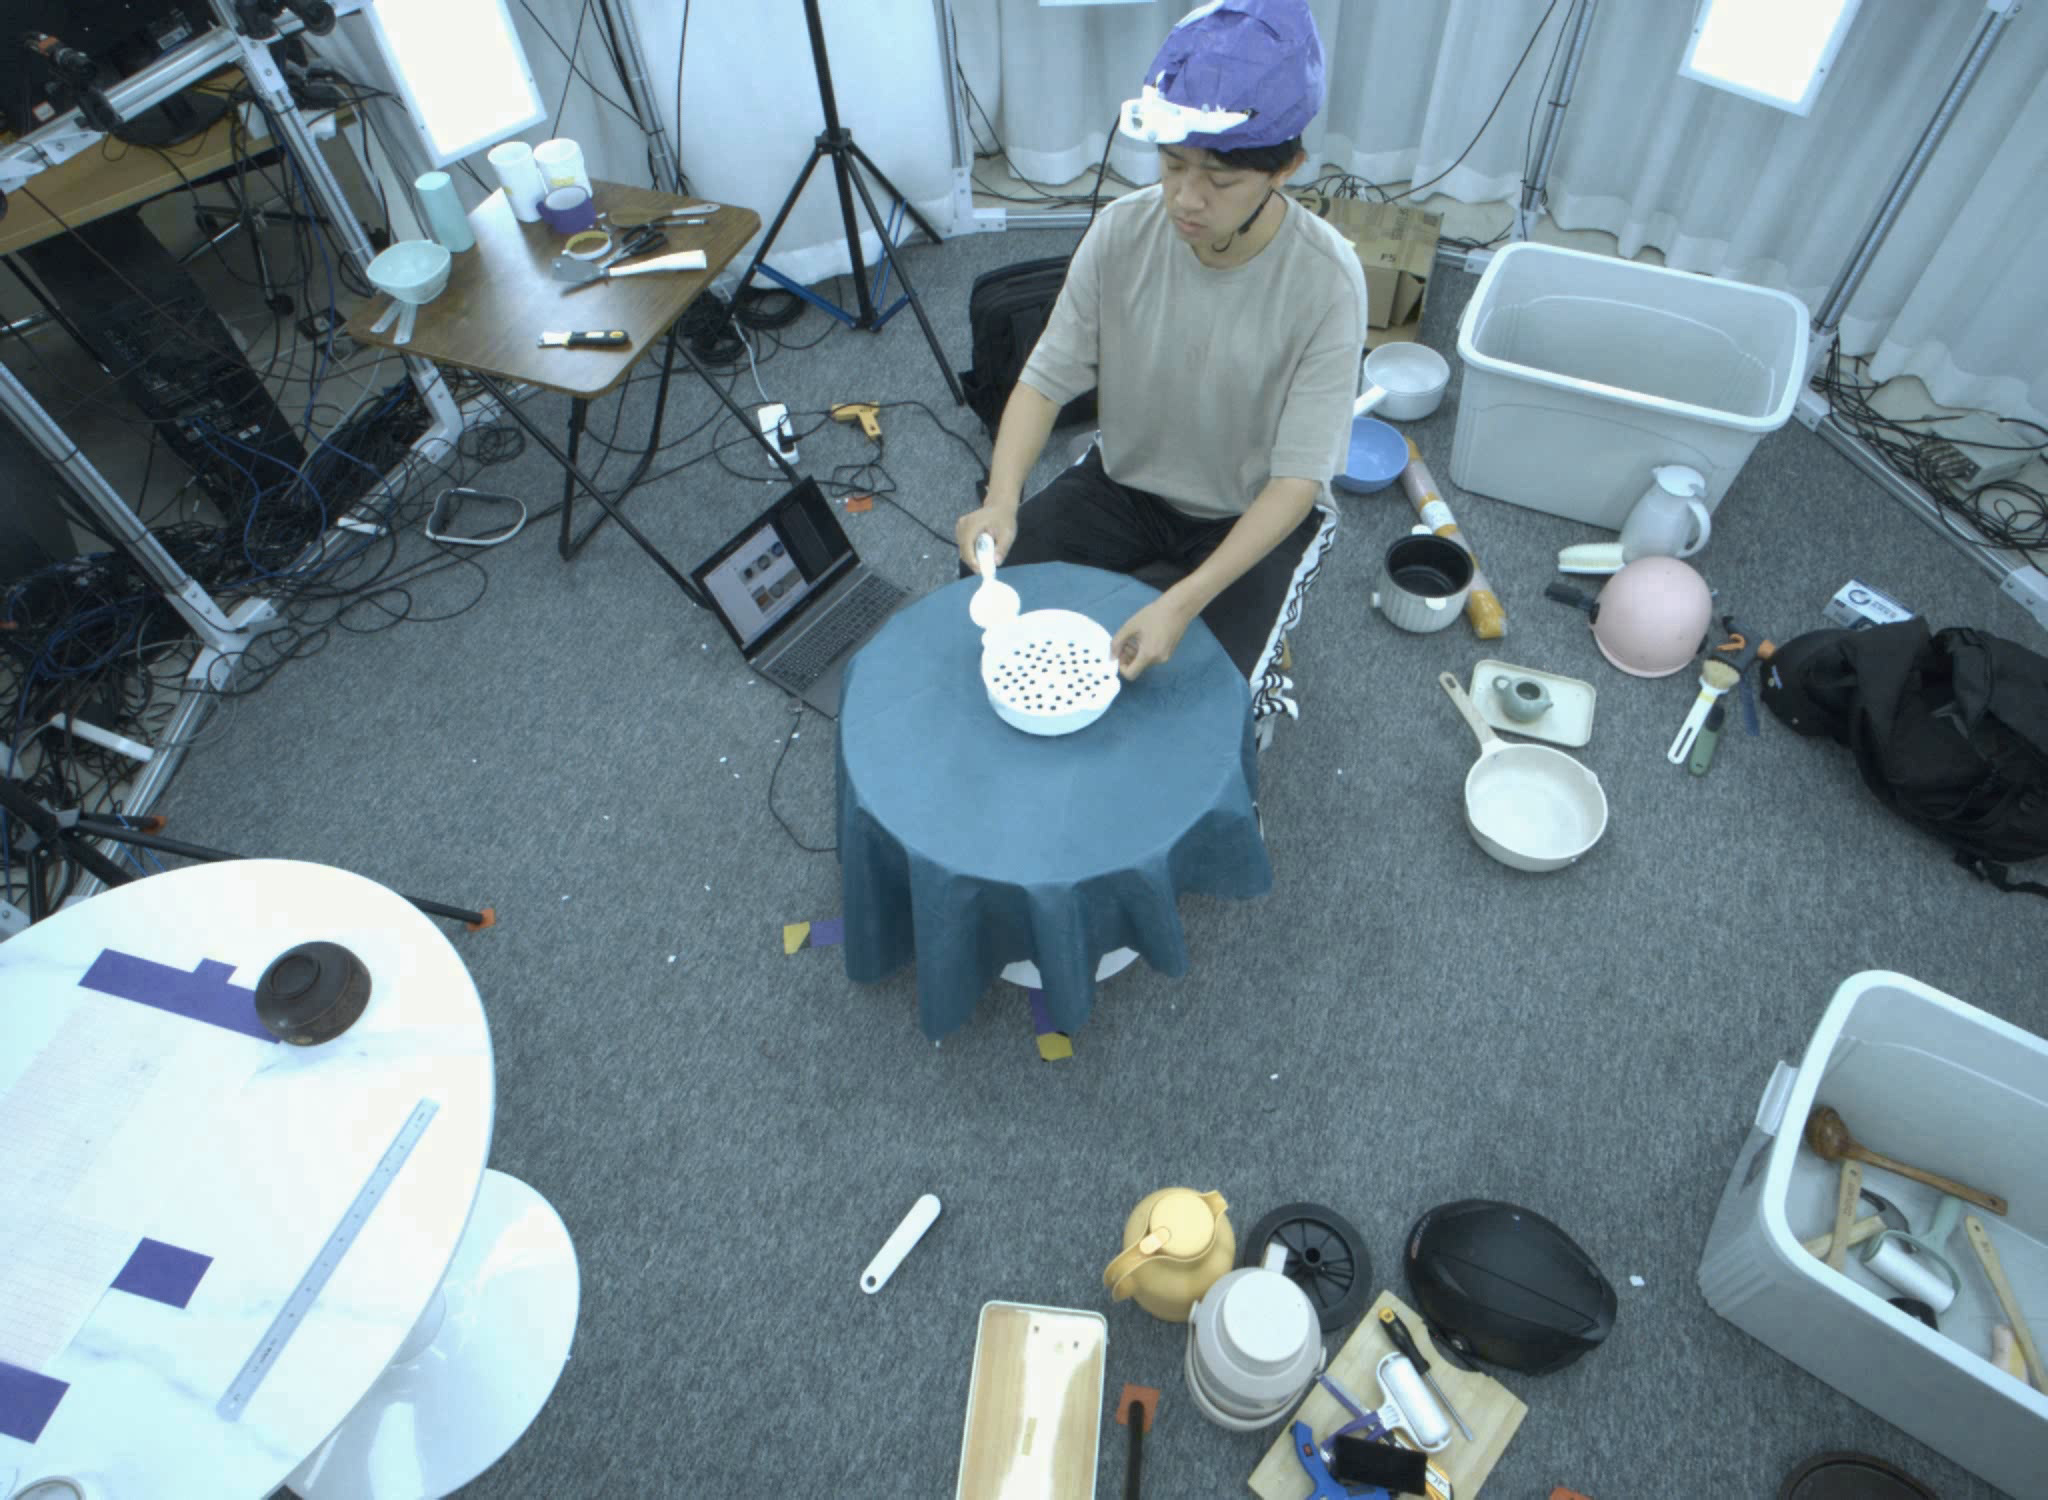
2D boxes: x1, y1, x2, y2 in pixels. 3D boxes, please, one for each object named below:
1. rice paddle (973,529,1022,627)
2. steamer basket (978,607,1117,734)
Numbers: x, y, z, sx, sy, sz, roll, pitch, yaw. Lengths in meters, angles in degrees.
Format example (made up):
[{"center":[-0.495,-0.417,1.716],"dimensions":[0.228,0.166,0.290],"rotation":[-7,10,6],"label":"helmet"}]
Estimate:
[{"center":[-0.045,-0.240,1.717],"dimensions":[0.068,0.030,0.202],"rotation":[-15,47,4],"label":"rice paddle"},{"center":[0.034,-0.116,1.825],"dimensions":[0.227,0.070,0.203],"rotation":[34,64,22],"label":"steamer basket"}]
